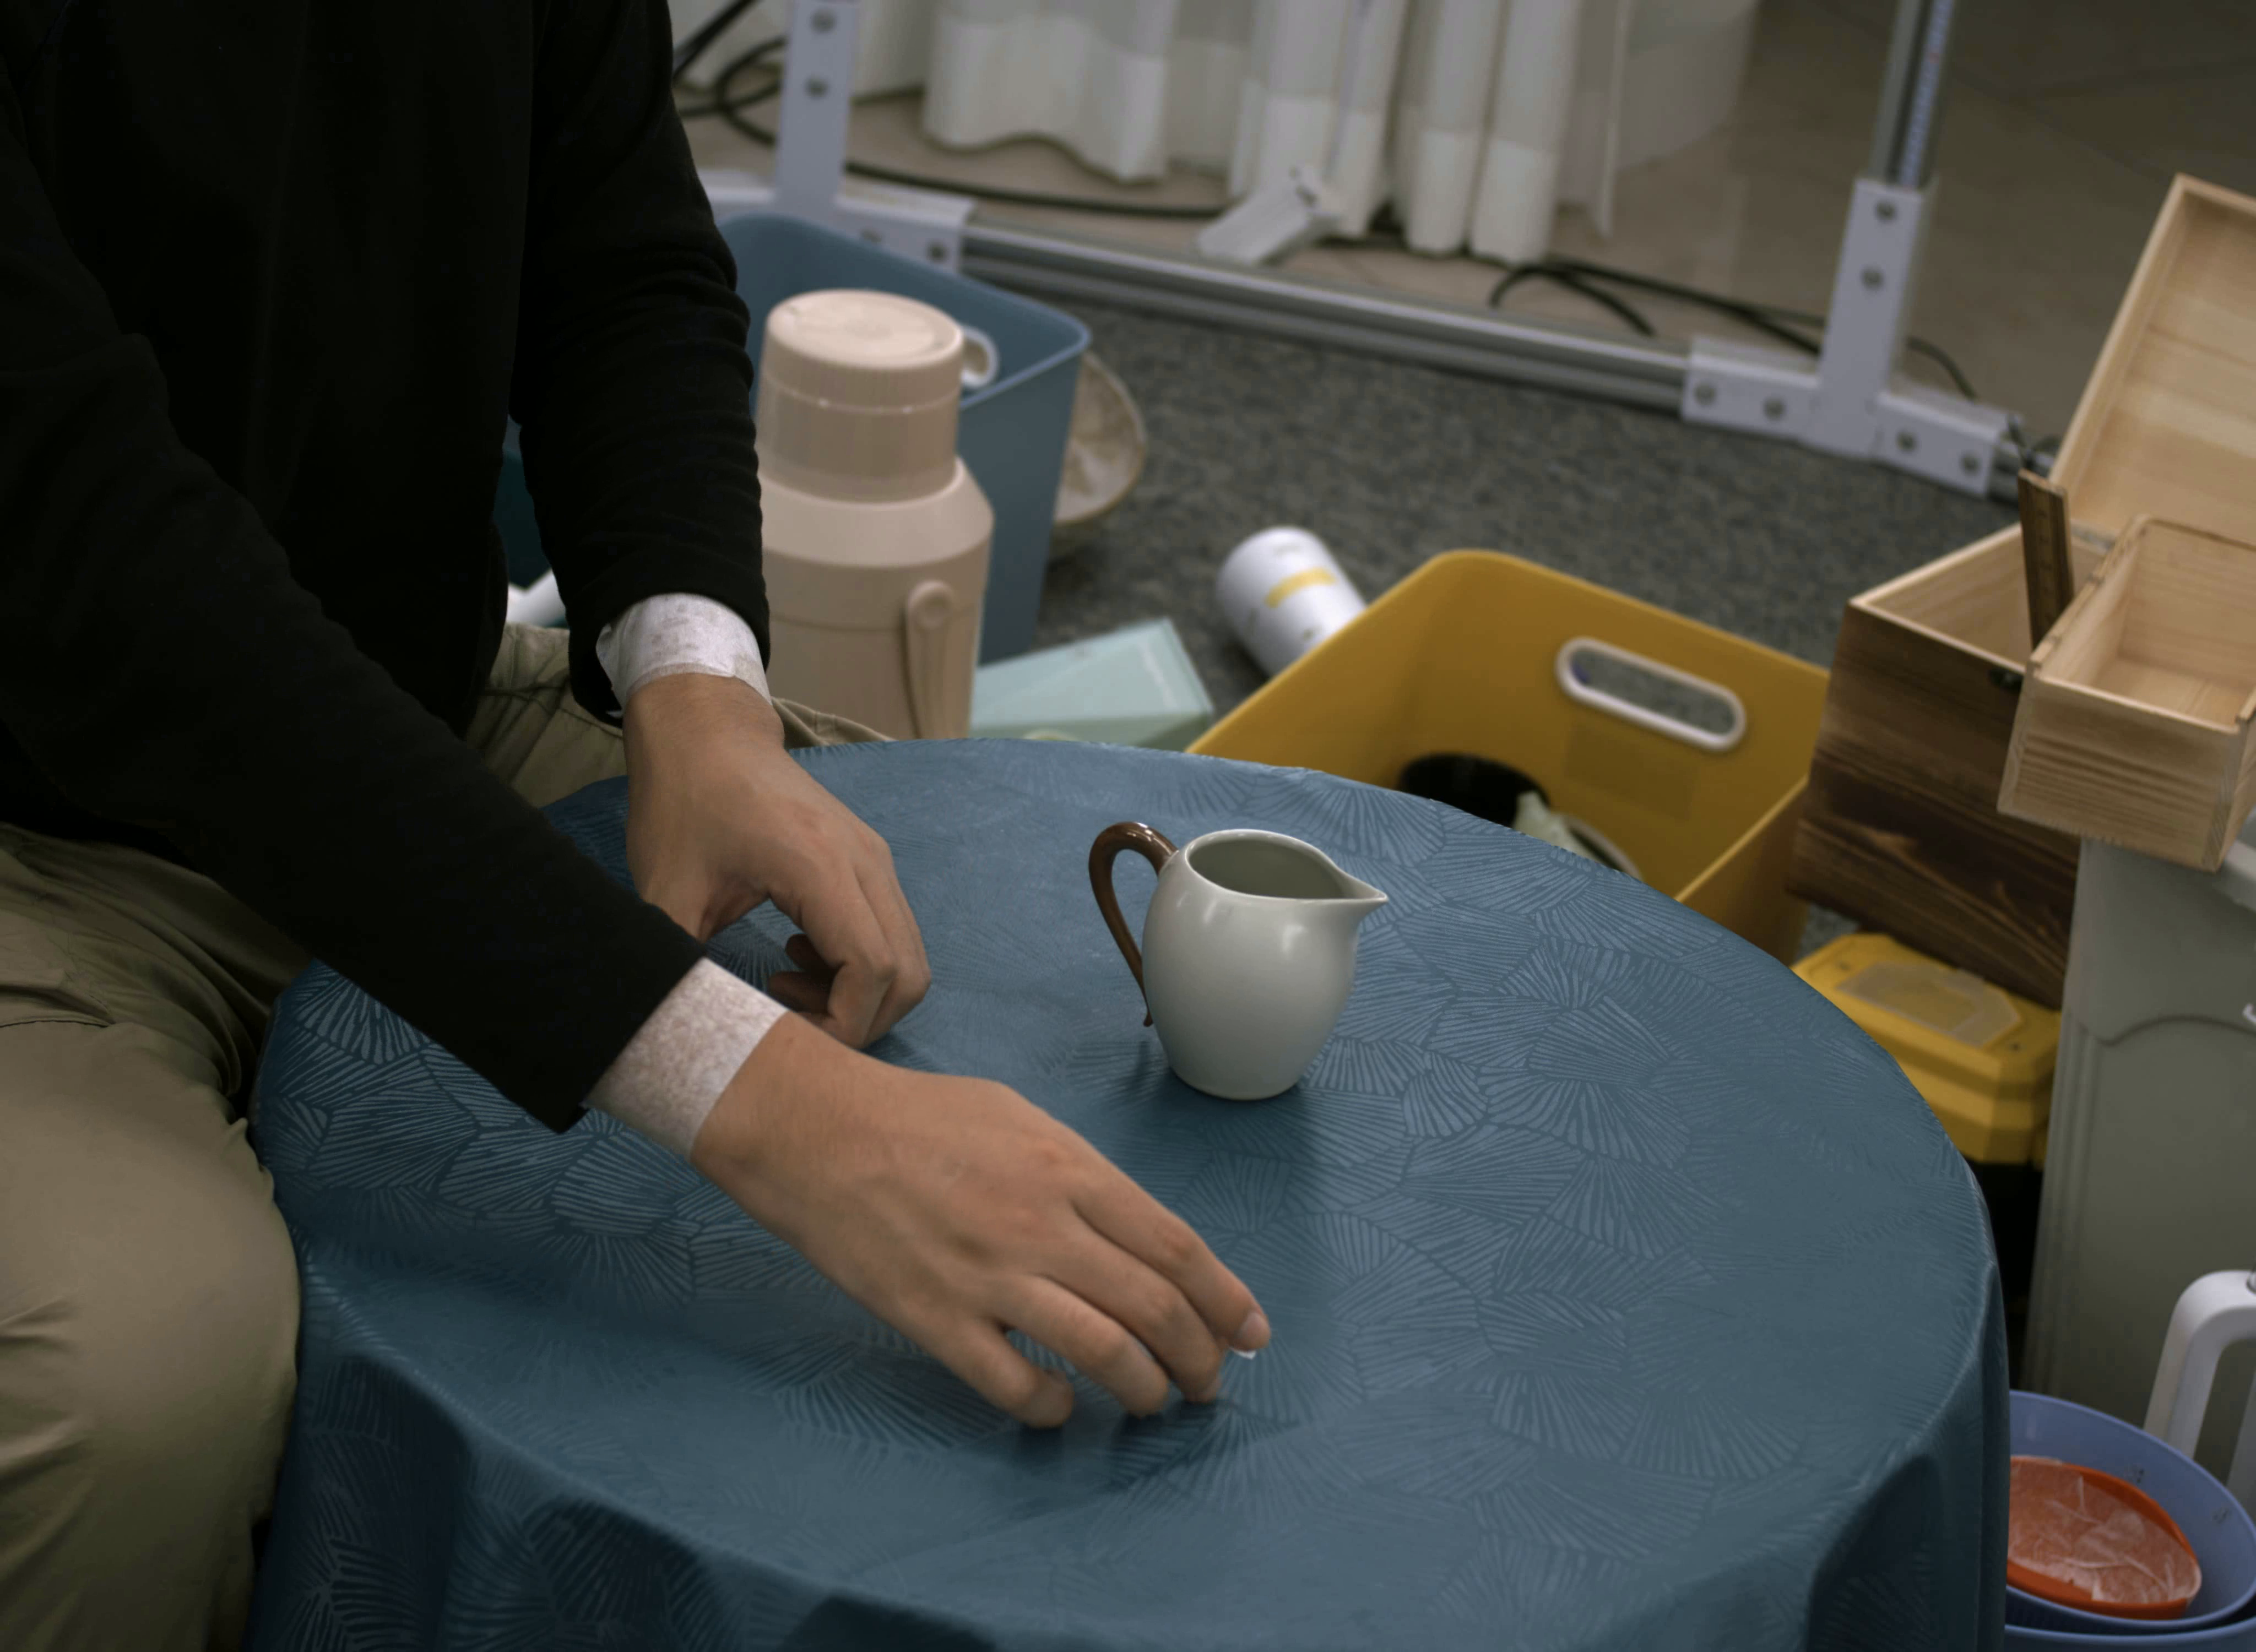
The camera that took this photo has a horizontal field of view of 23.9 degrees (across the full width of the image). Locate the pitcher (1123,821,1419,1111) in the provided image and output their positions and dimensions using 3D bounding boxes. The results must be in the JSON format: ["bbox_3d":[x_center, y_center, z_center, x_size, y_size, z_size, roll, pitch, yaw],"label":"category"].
[{"bbox_3d":[0.044,0.048,1.864,0.120,0.087,0.075,25,28,29],"label":"pitcher"}]

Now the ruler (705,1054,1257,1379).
[{"bbox_3d":[-0.054,0.126,1.760,0.219,0.024,0.038,23,38,32],"label":"ruler"}]
